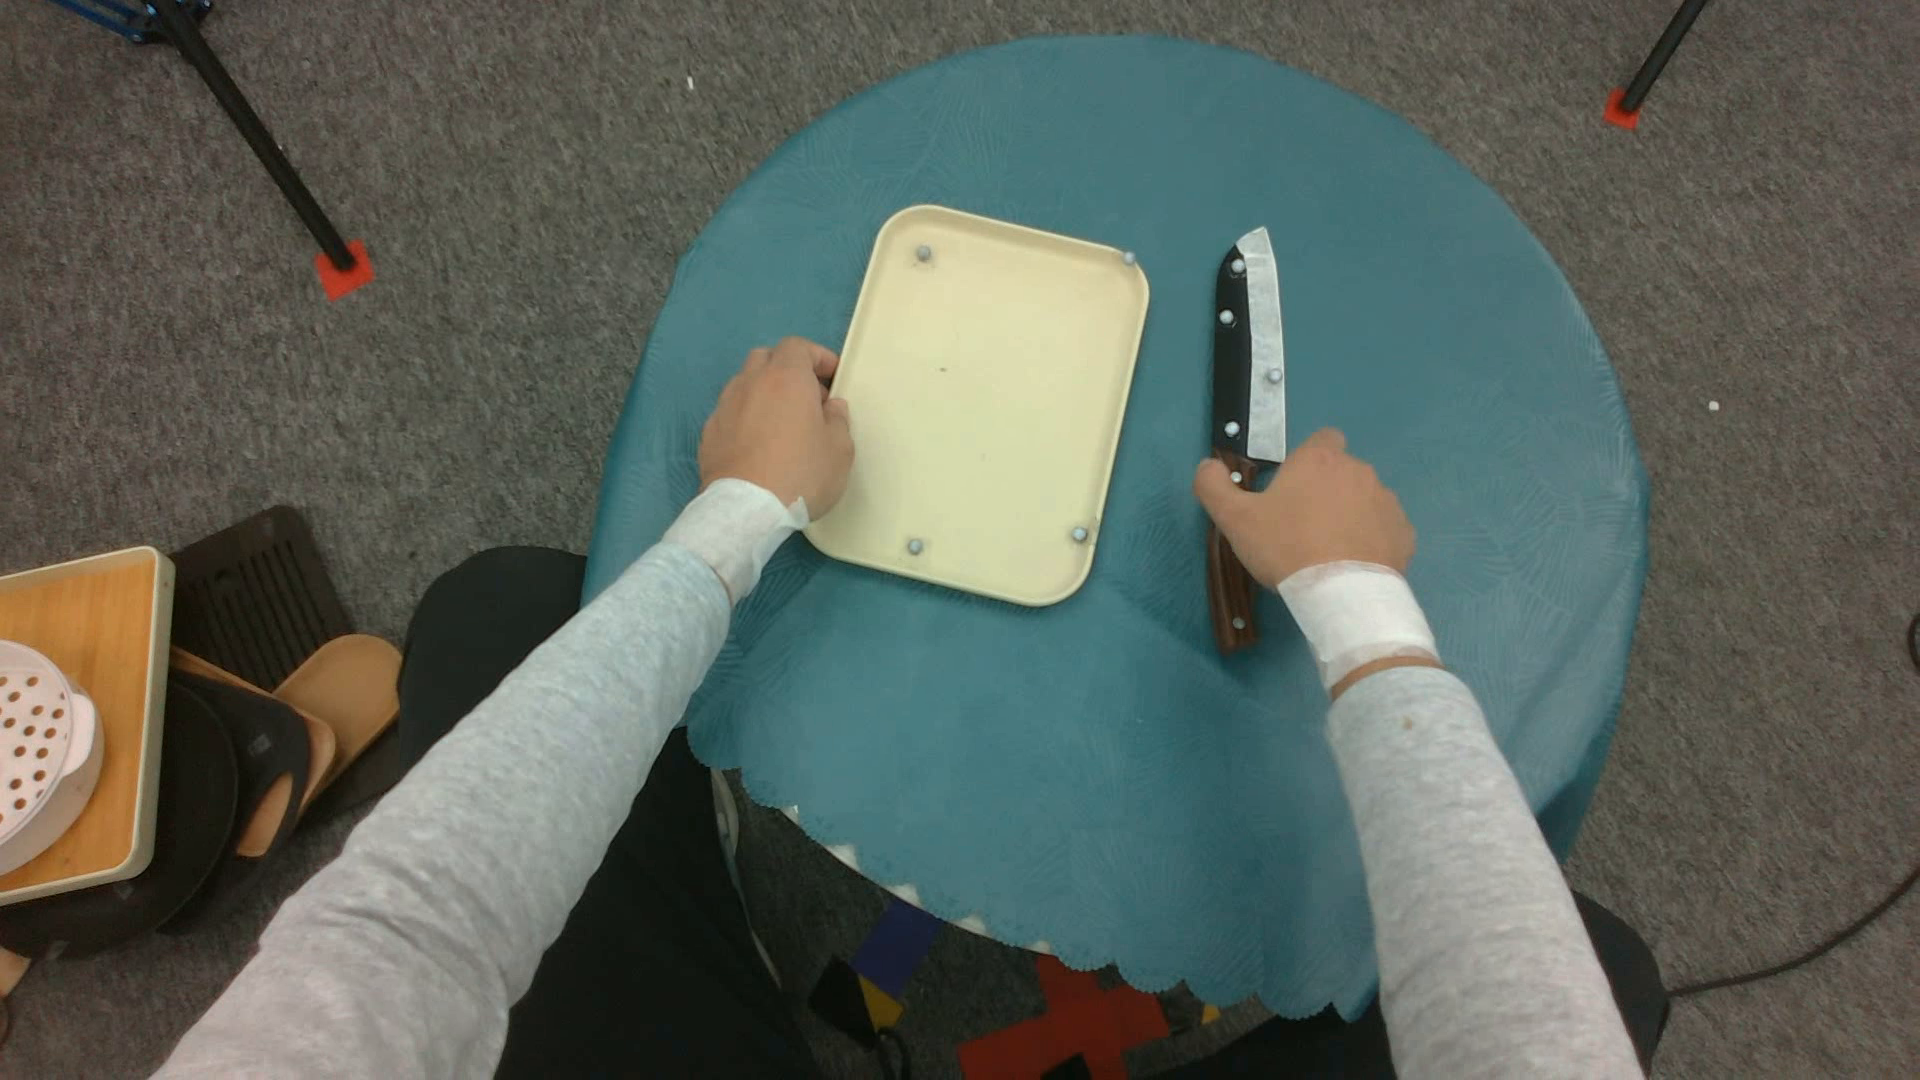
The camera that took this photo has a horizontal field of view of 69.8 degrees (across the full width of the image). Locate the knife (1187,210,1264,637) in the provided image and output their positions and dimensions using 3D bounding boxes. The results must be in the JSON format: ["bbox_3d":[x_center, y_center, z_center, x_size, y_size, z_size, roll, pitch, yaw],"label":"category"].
[{"bbox_3d":[0.156,-0.078,0.813,0.050,0.020,0.290,10,66,-6],"label":"knife"}]

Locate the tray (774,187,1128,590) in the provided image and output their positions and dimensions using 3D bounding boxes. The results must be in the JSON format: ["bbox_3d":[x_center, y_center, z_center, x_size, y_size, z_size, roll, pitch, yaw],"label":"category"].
[{"bbox_3d":[-0.001,-0.092,0.805,0.171,0.017,0.240,14,69,1],"label":"tray"}]
